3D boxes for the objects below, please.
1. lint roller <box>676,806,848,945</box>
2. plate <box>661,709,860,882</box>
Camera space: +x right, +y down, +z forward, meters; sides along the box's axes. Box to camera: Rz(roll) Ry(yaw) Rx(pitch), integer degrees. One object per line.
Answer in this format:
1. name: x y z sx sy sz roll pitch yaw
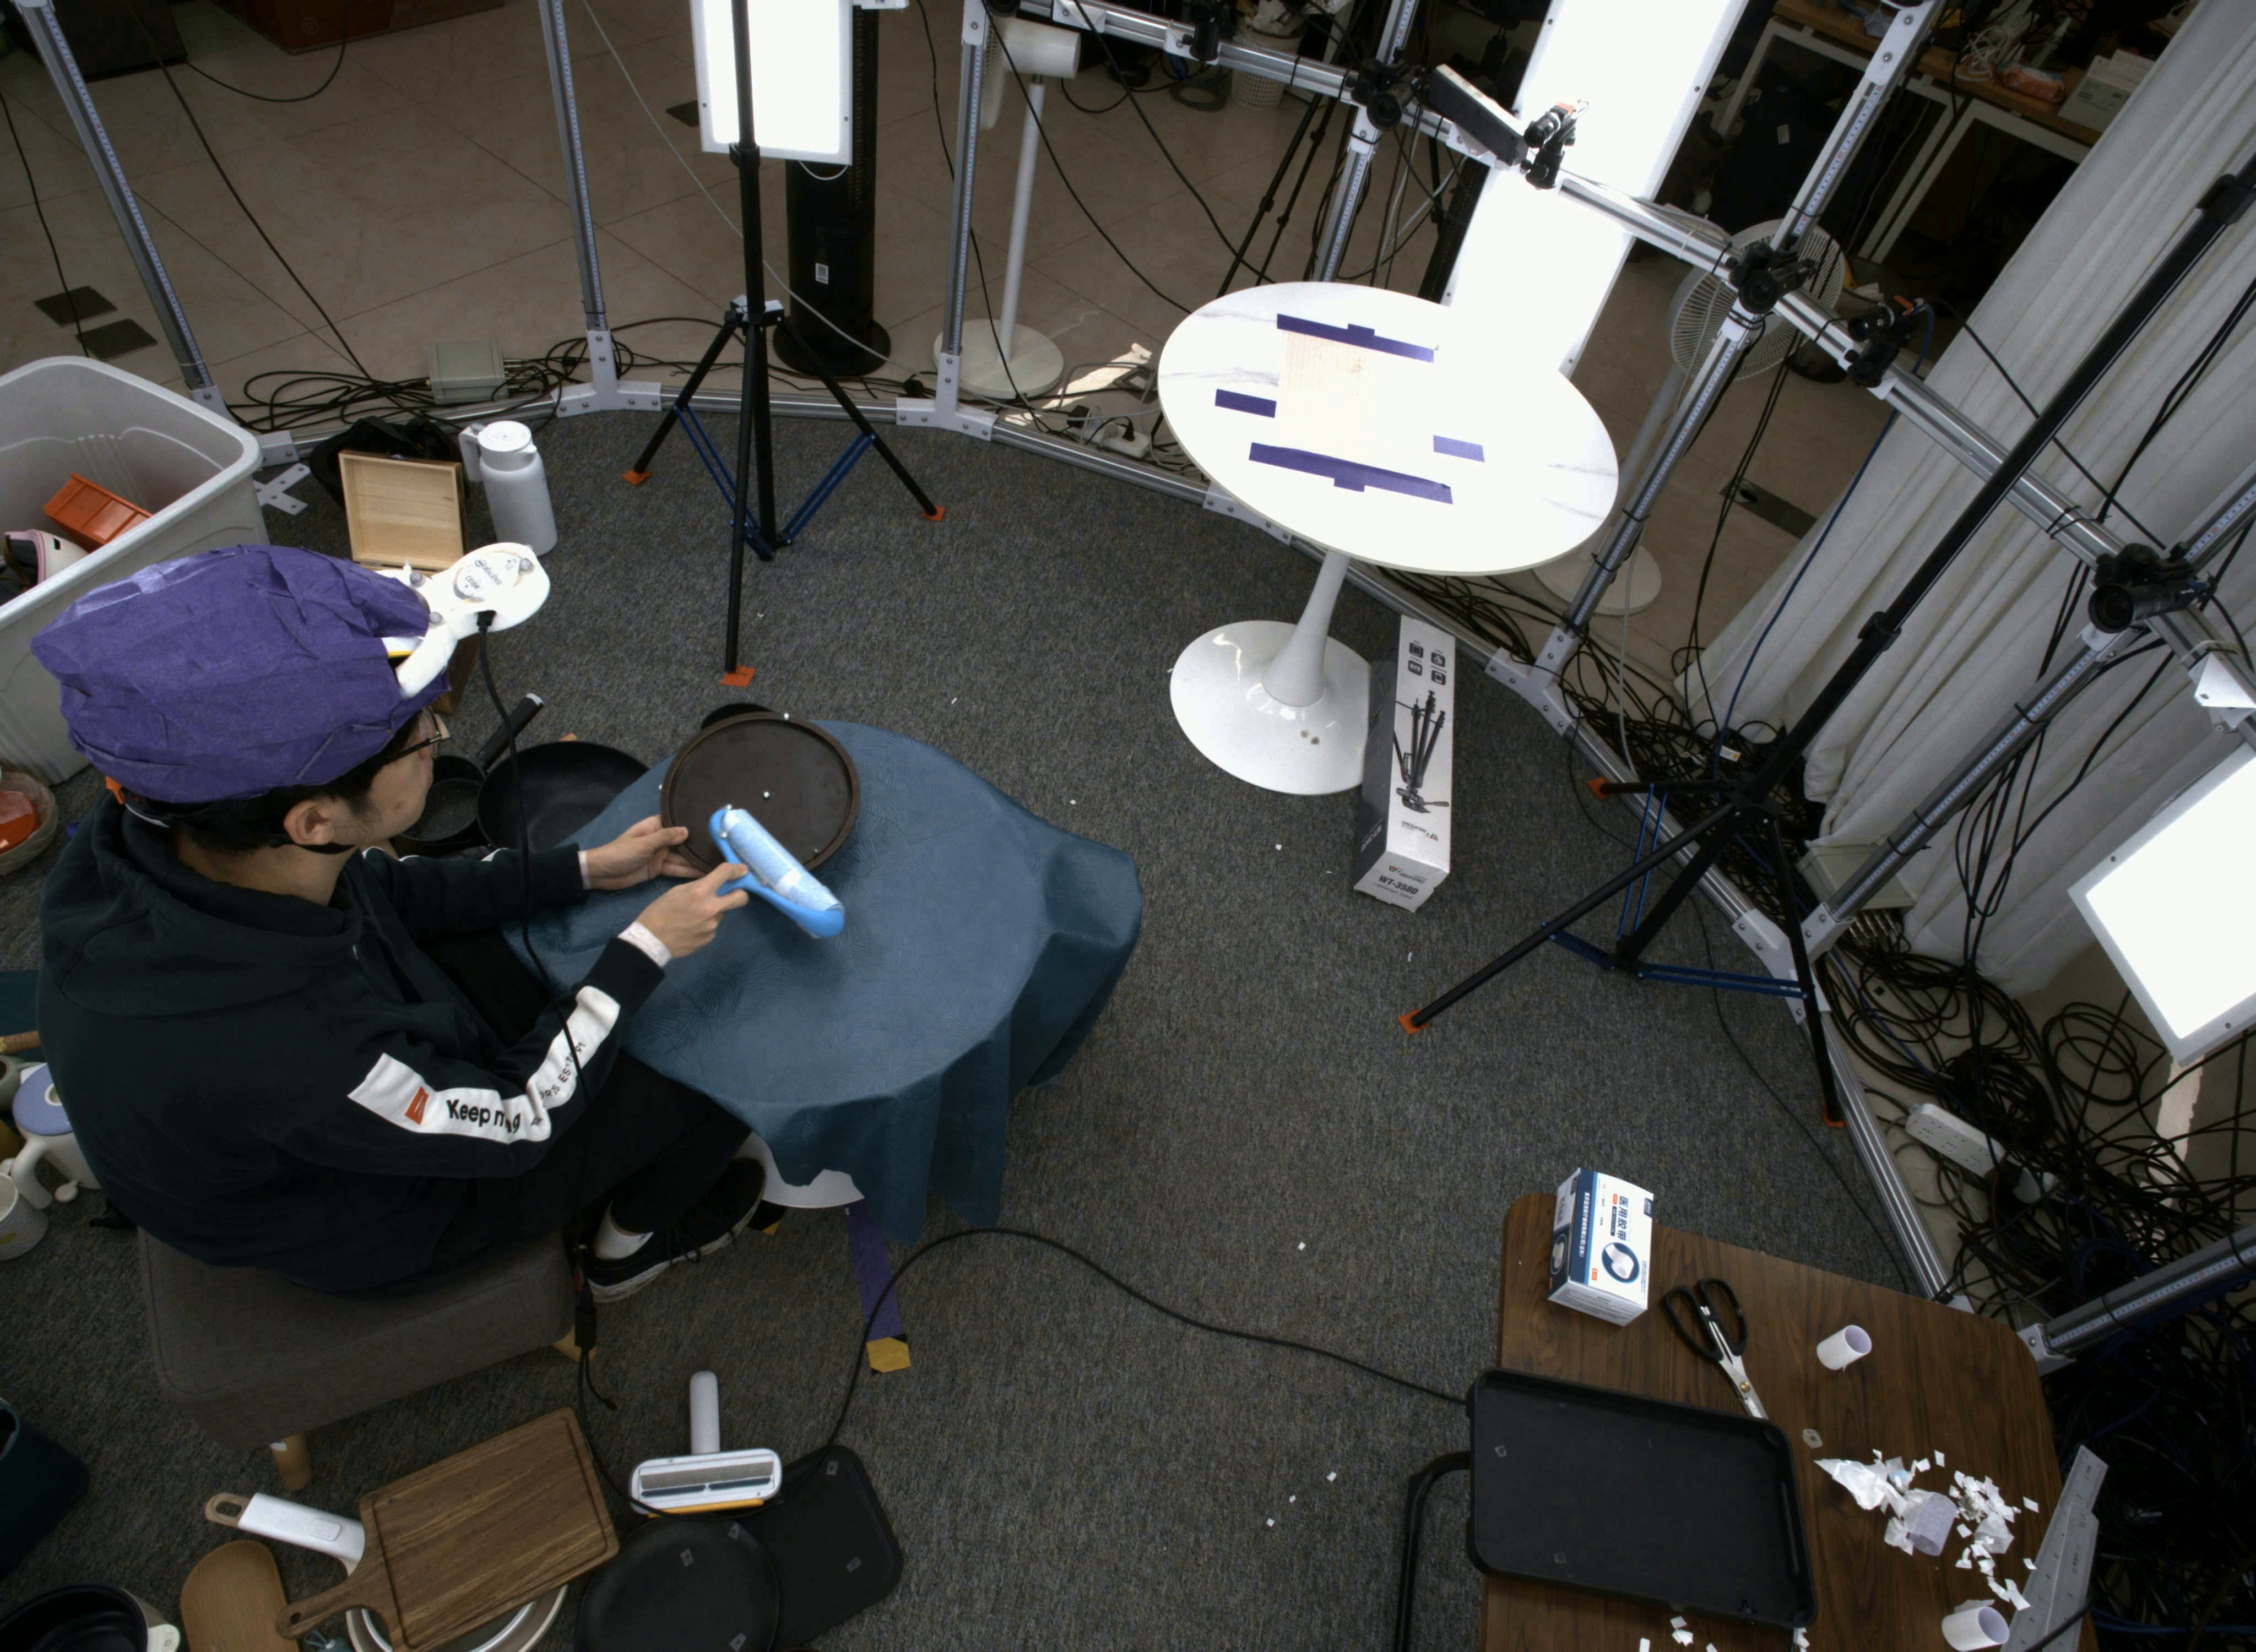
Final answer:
1. lint roller: -0.464 0.078 1.555 0.224 0.069 0.181 39 46 14
2. plate: -0.474 -0.038 1.673 0.254 0.029 0.252 5 63 -8
